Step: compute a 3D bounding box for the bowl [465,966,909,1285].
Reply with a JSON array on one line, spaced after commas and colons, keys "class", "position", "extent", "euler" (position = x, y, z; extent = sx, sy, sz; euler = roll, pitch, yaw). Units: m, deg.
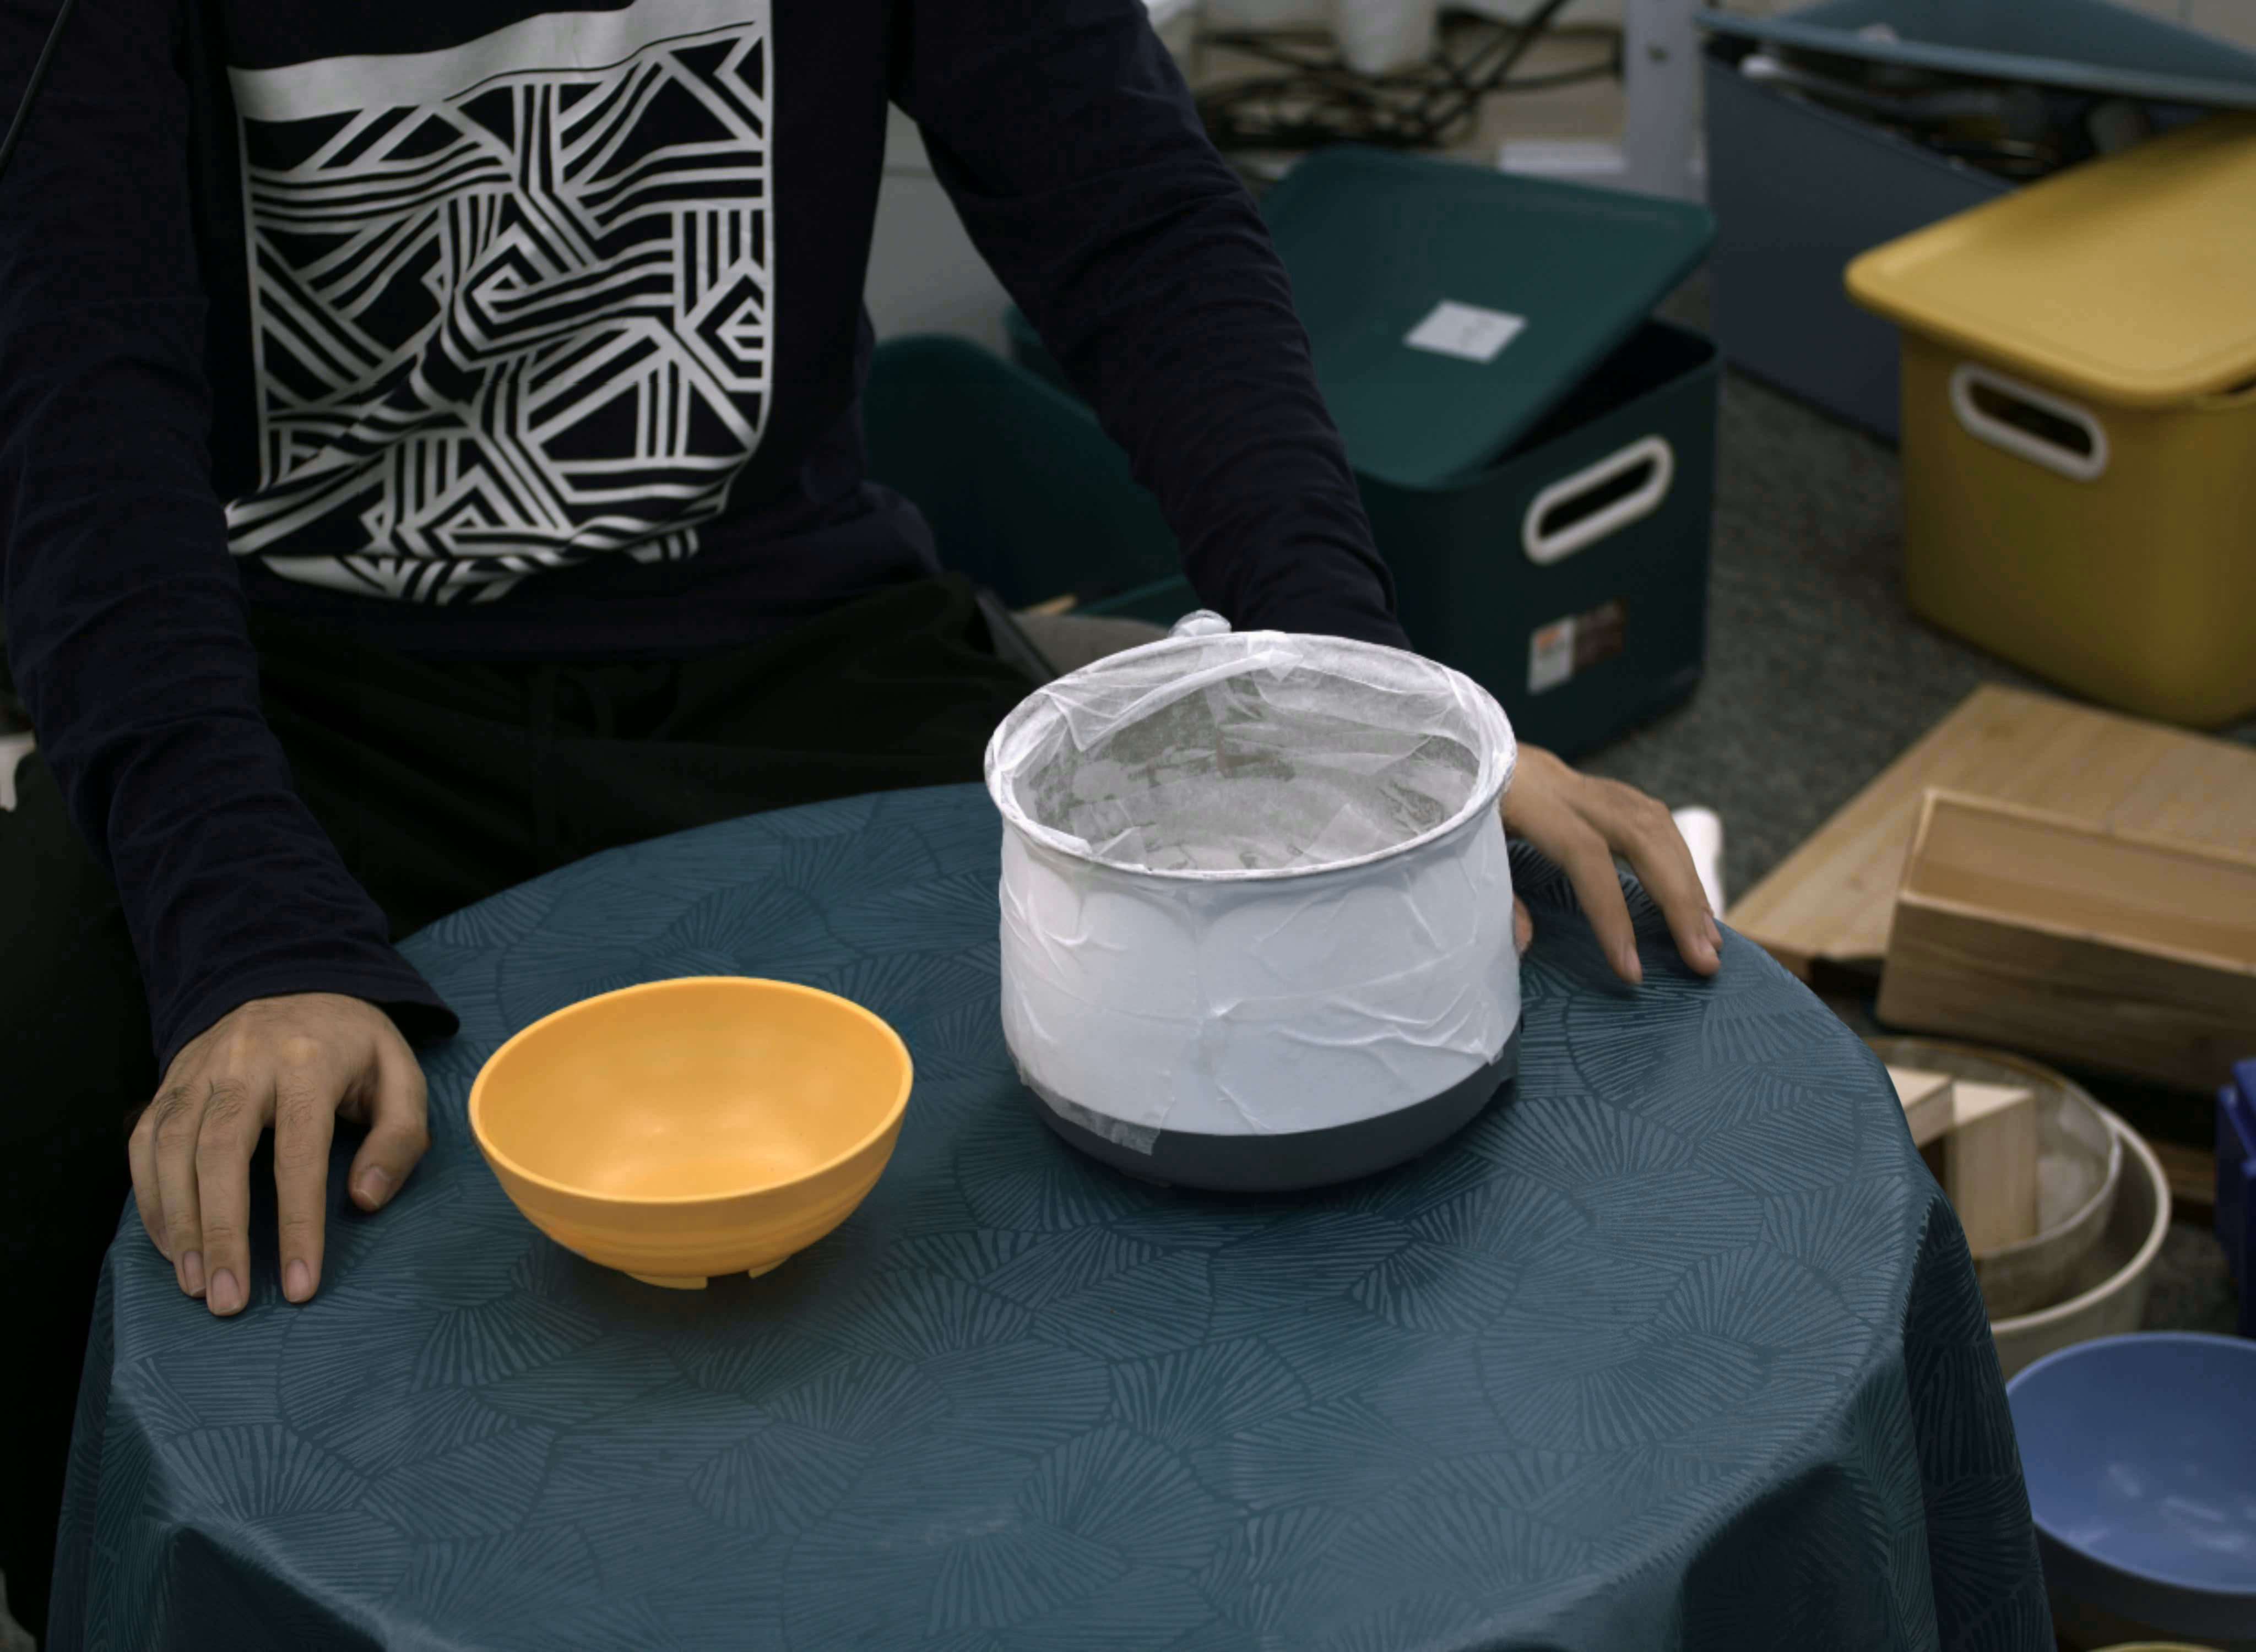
[{"class": "bowl", "position": [-0.142, 0.108, 1.834], "extent": [0.144, 0.059, 0.147], "euler": [-1, 28, 1]}]

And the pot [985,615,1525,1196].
[{"class": "pot", "position": [0.040, 0.020, 1.913], "extent": [0.178, 0.135, 0.236], "euler": [-7, 26, -7]}]
